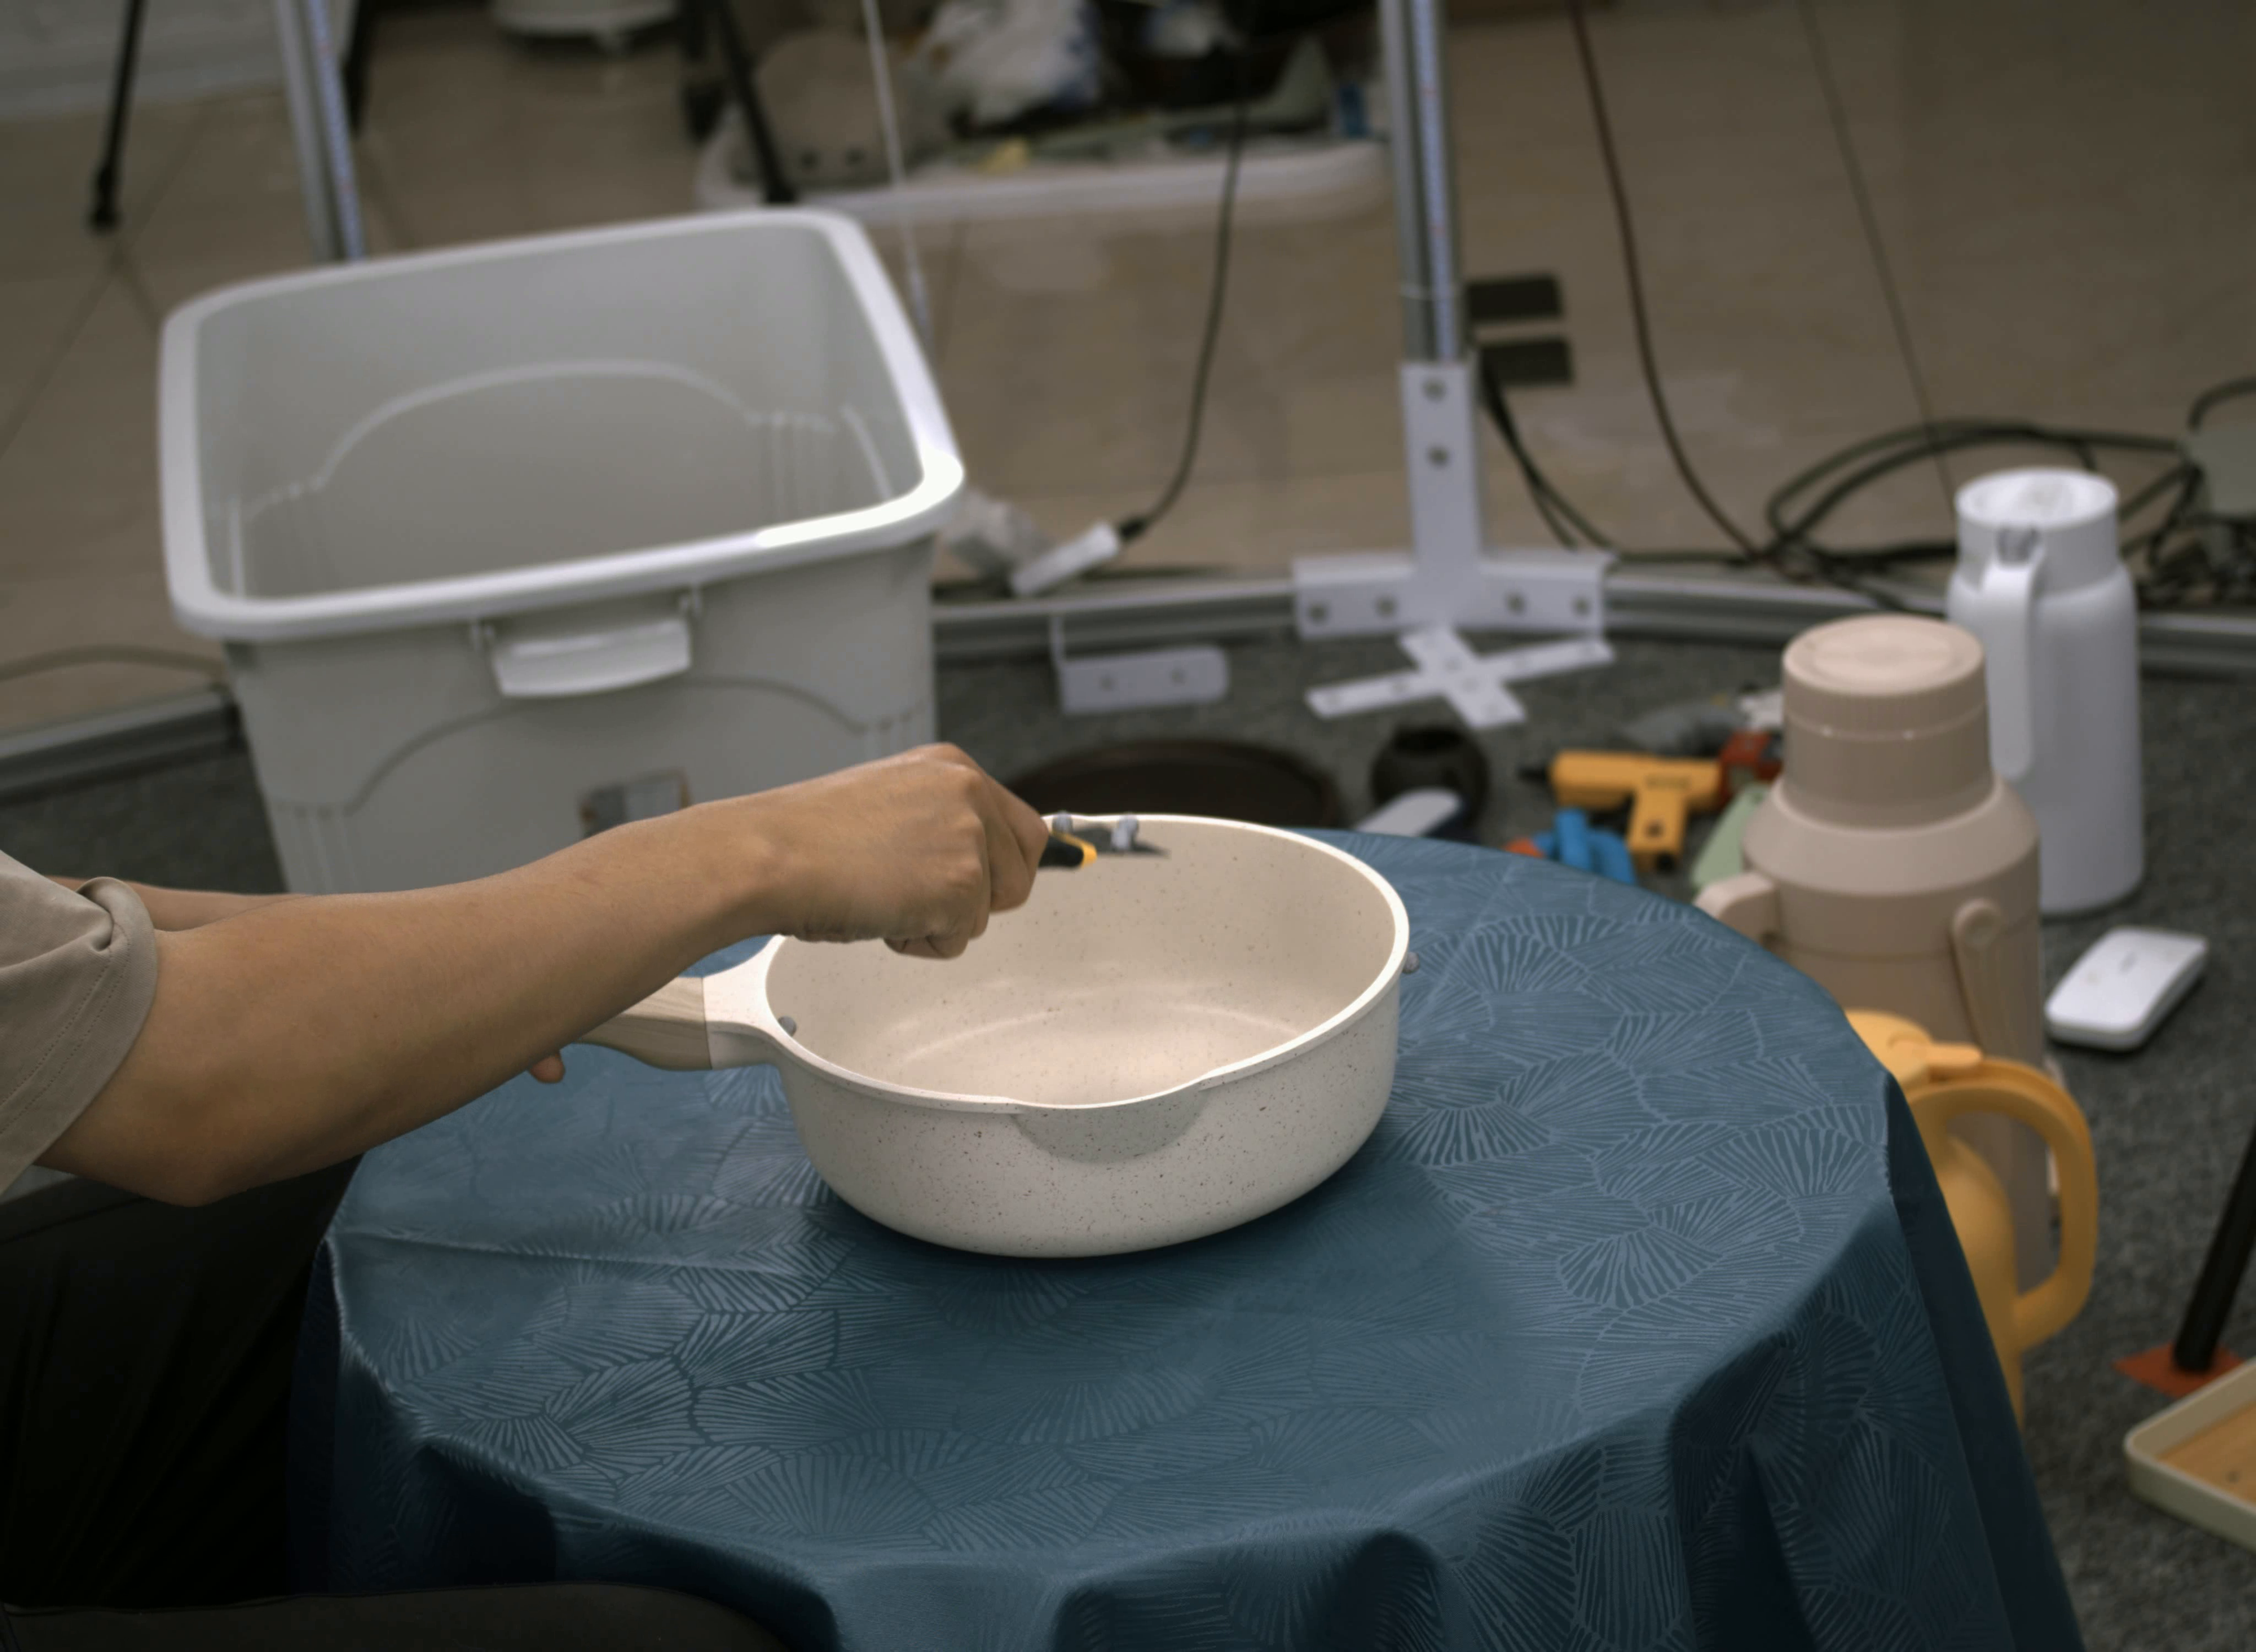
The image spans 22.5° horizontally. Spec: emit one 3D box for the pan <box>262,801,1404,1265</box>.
[{"bbox_3d":[-0.107,0.089,2.173,0.434,0.104,0.259,-8,28,-3],"label":"pan"}]

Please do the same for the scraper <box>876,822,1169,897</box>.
[{"bbox_3d":[-0.040,0.012,2.122,0.038,0.015,0.171,31,17,26],"label":"scraper"}]
